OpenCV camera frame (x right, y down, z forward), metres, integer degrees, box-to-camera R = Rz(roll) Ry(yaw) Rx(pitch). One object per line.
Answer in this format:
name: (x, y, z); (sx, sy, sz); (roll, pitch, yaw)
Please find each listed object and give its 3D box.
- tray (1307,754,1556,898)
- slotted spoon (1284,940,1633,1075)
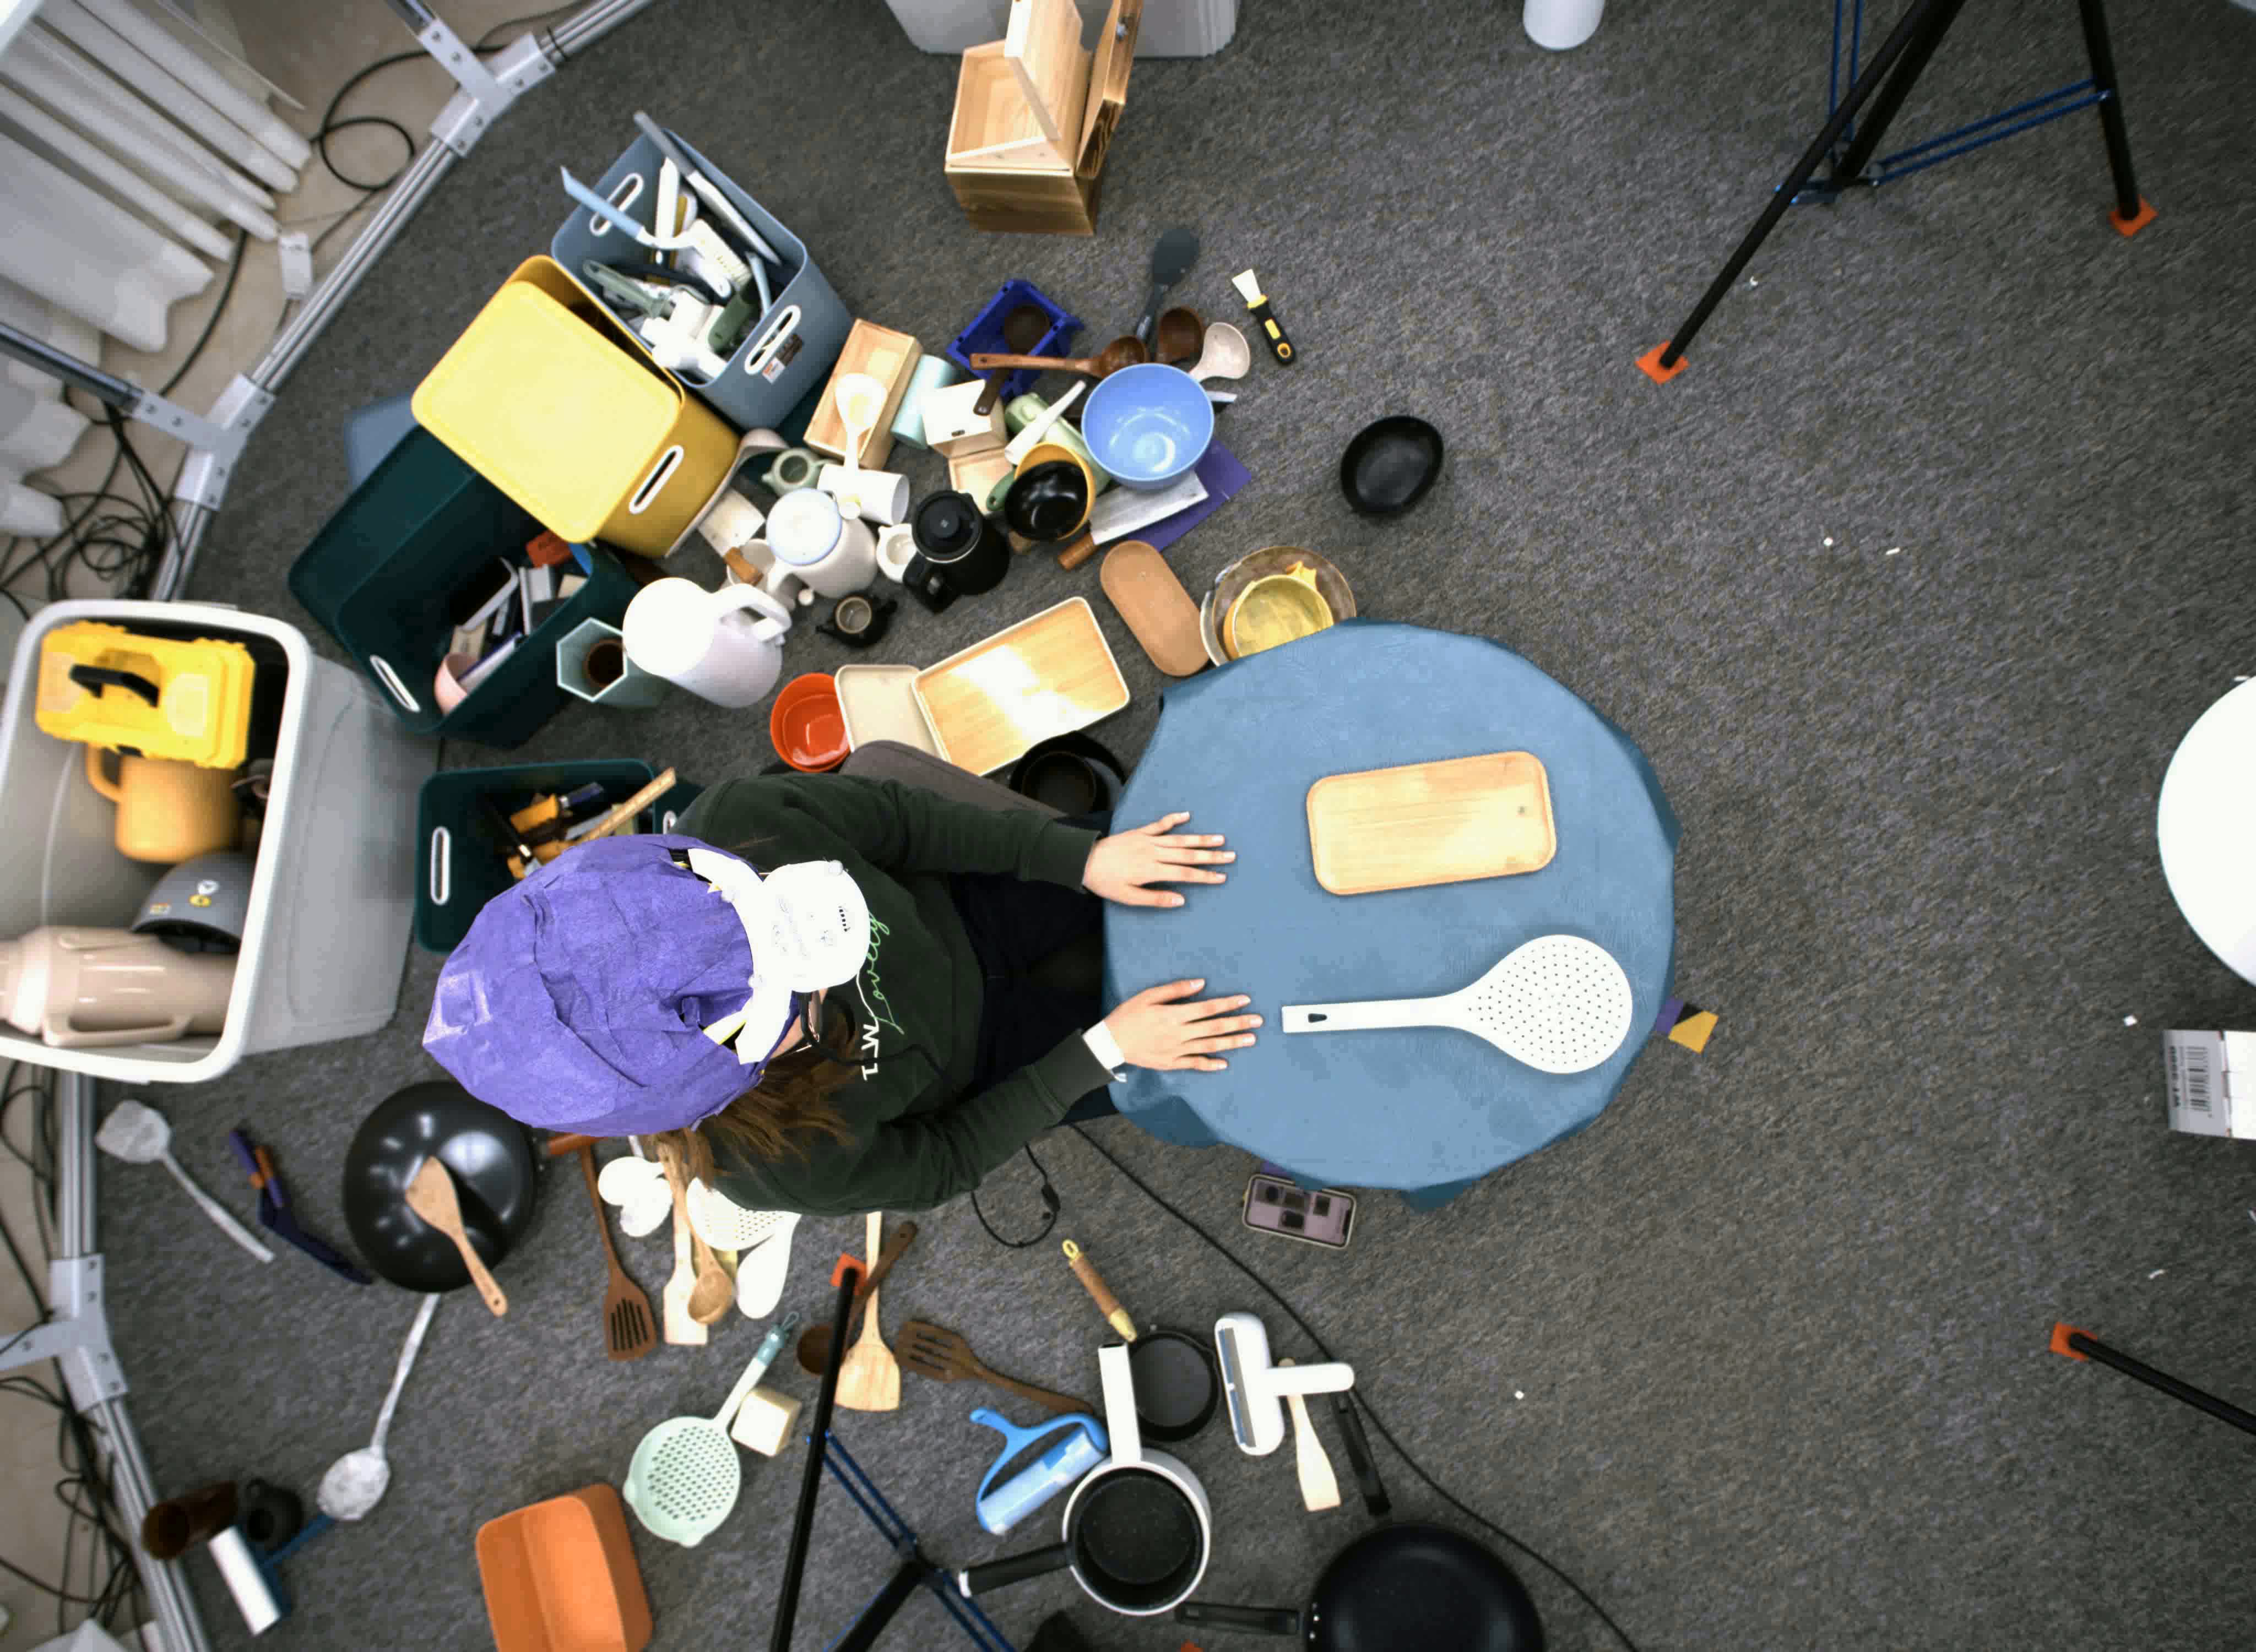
tray: (0.318, -0.001, 1.453); (0.252, 0.023, 0.129); (-8, 83, 11)
slotted spoon: (0.335, 0.190, 1.422); (0.351, 0.046, 0.135); (-4, 83, 11)
